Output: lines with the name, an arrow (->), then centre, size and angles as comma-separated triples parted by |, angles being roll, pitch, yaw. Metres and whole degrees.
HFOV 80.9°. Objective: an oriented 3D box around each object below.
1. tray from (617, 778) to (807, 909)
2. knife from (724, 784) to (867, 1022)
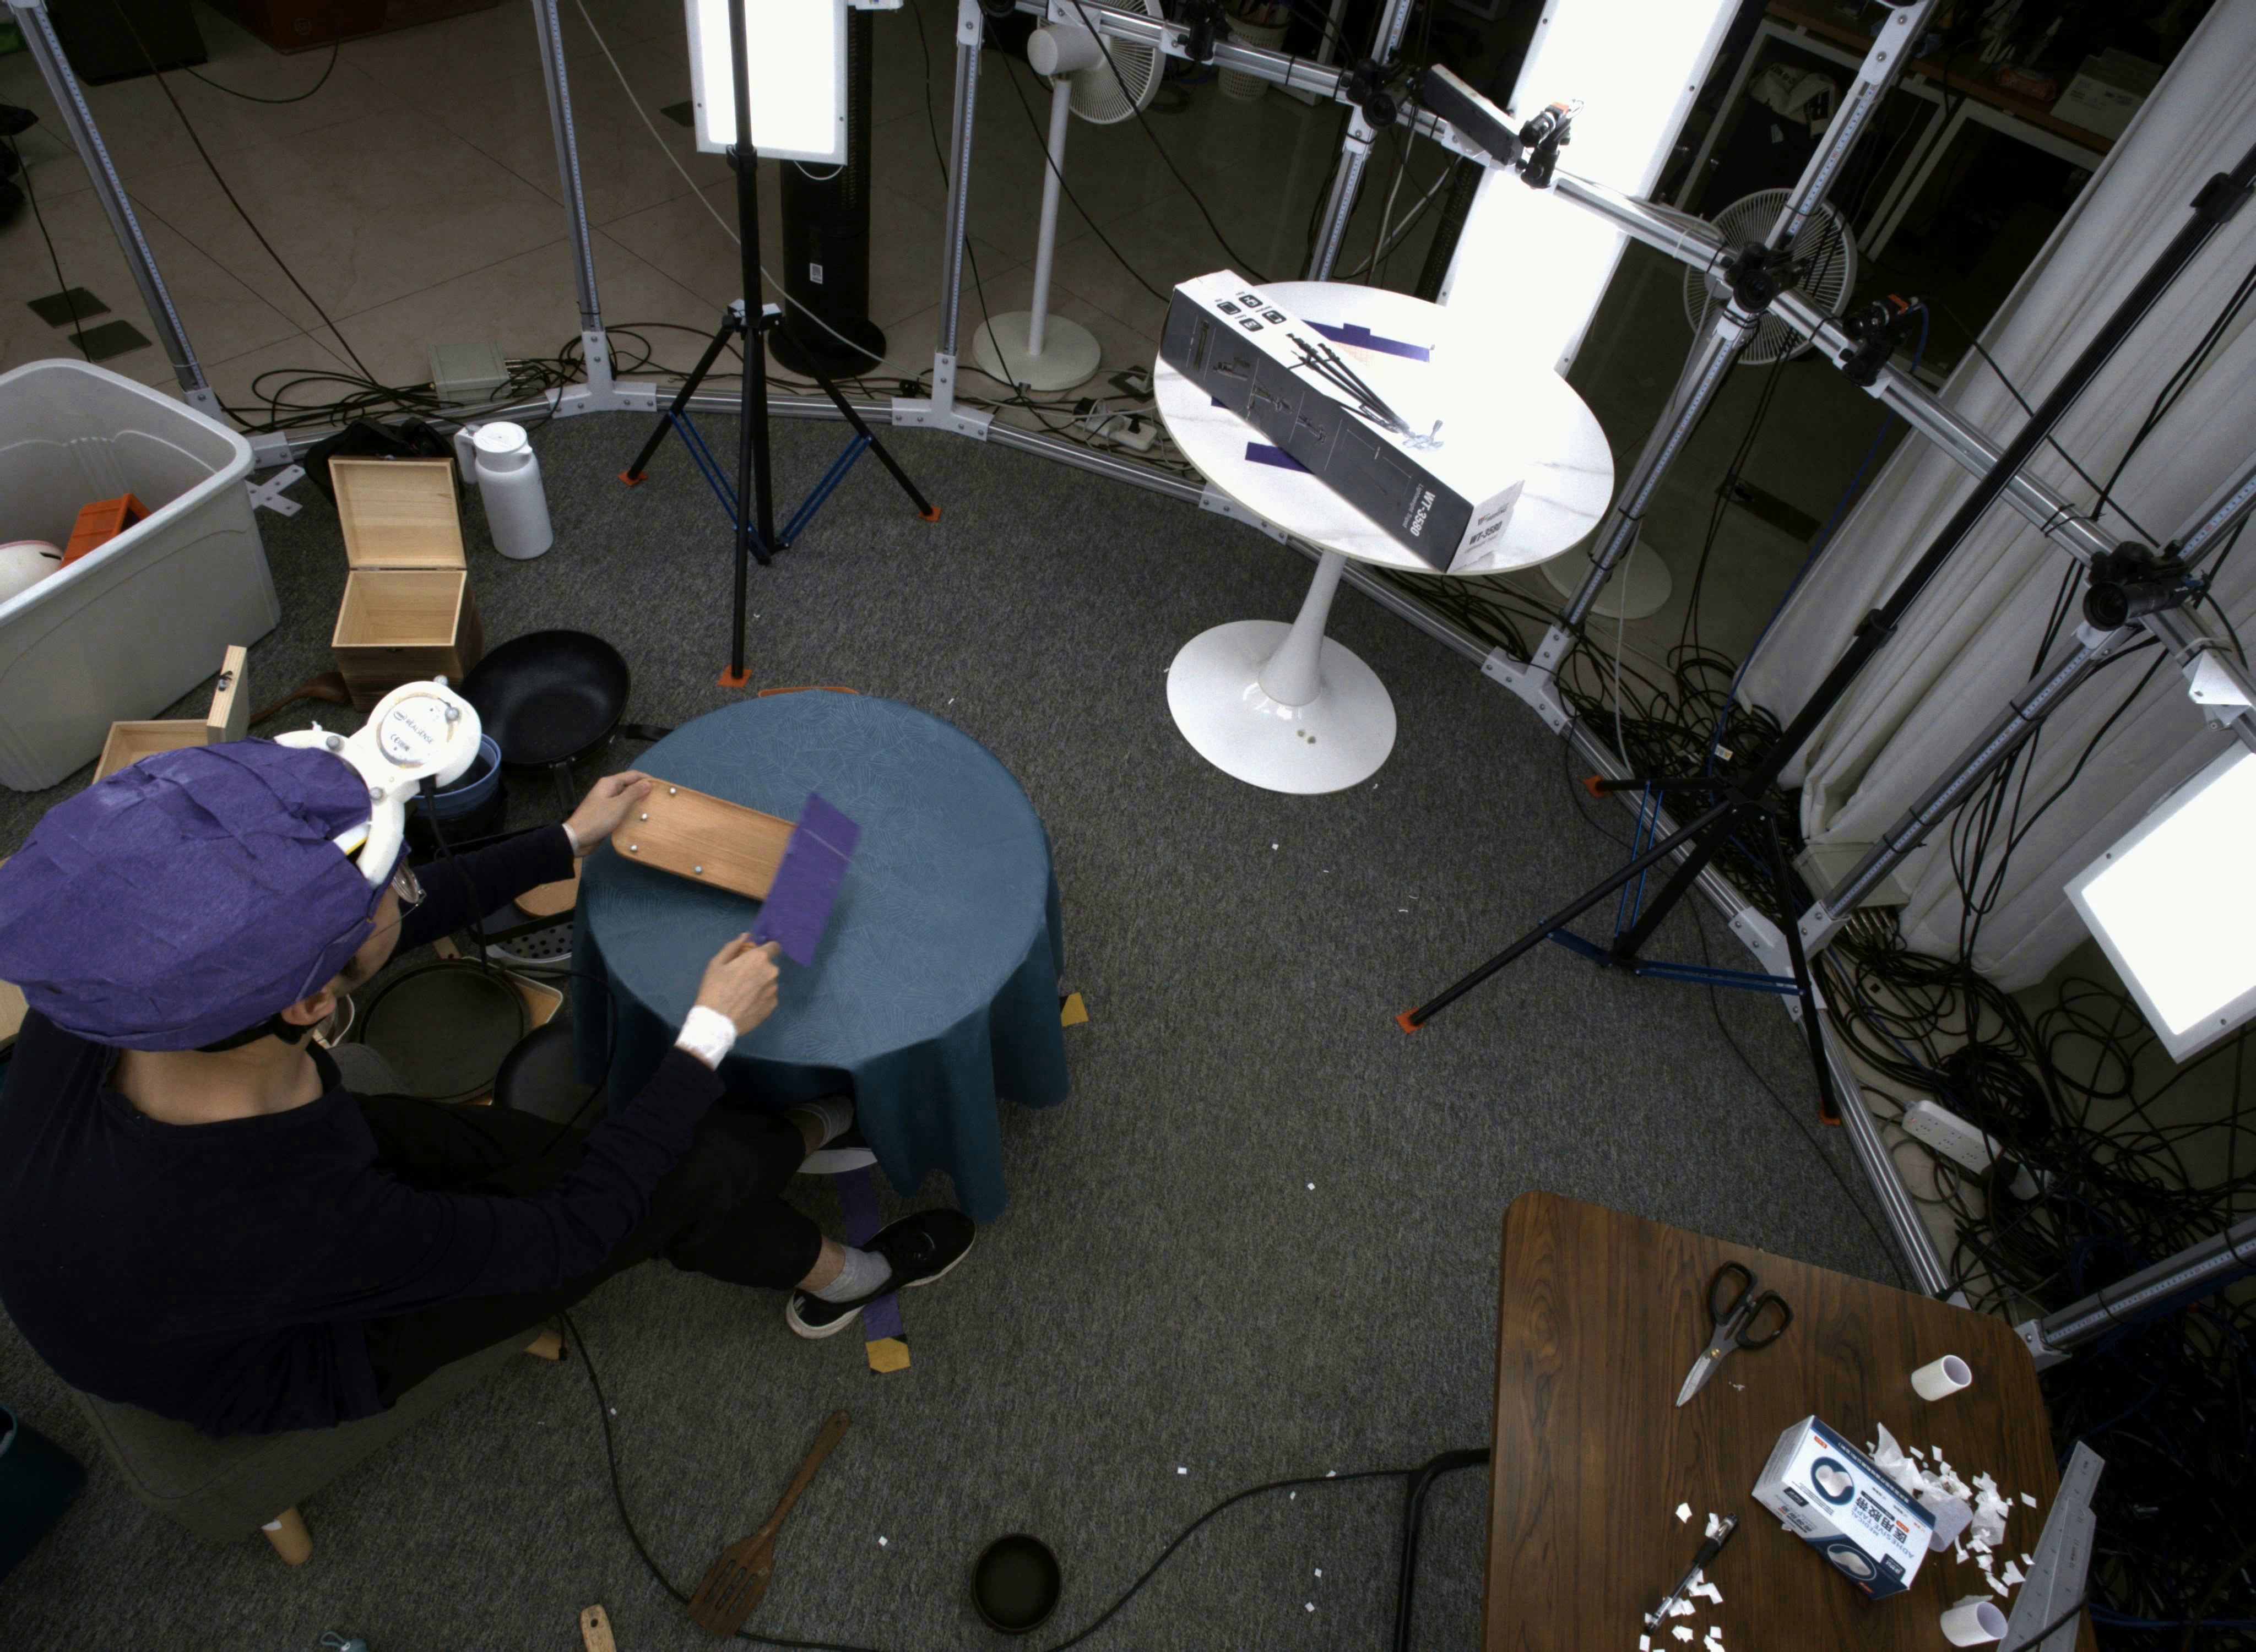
tray -> -0.520, 0.023, 1.649 | 0.253, 0.023, 0.129 | 22, 52, -16
knife -> -0.387, 0.101, 1.552 | 0.107, 0.031, 0.312 | 42, 51, -36
